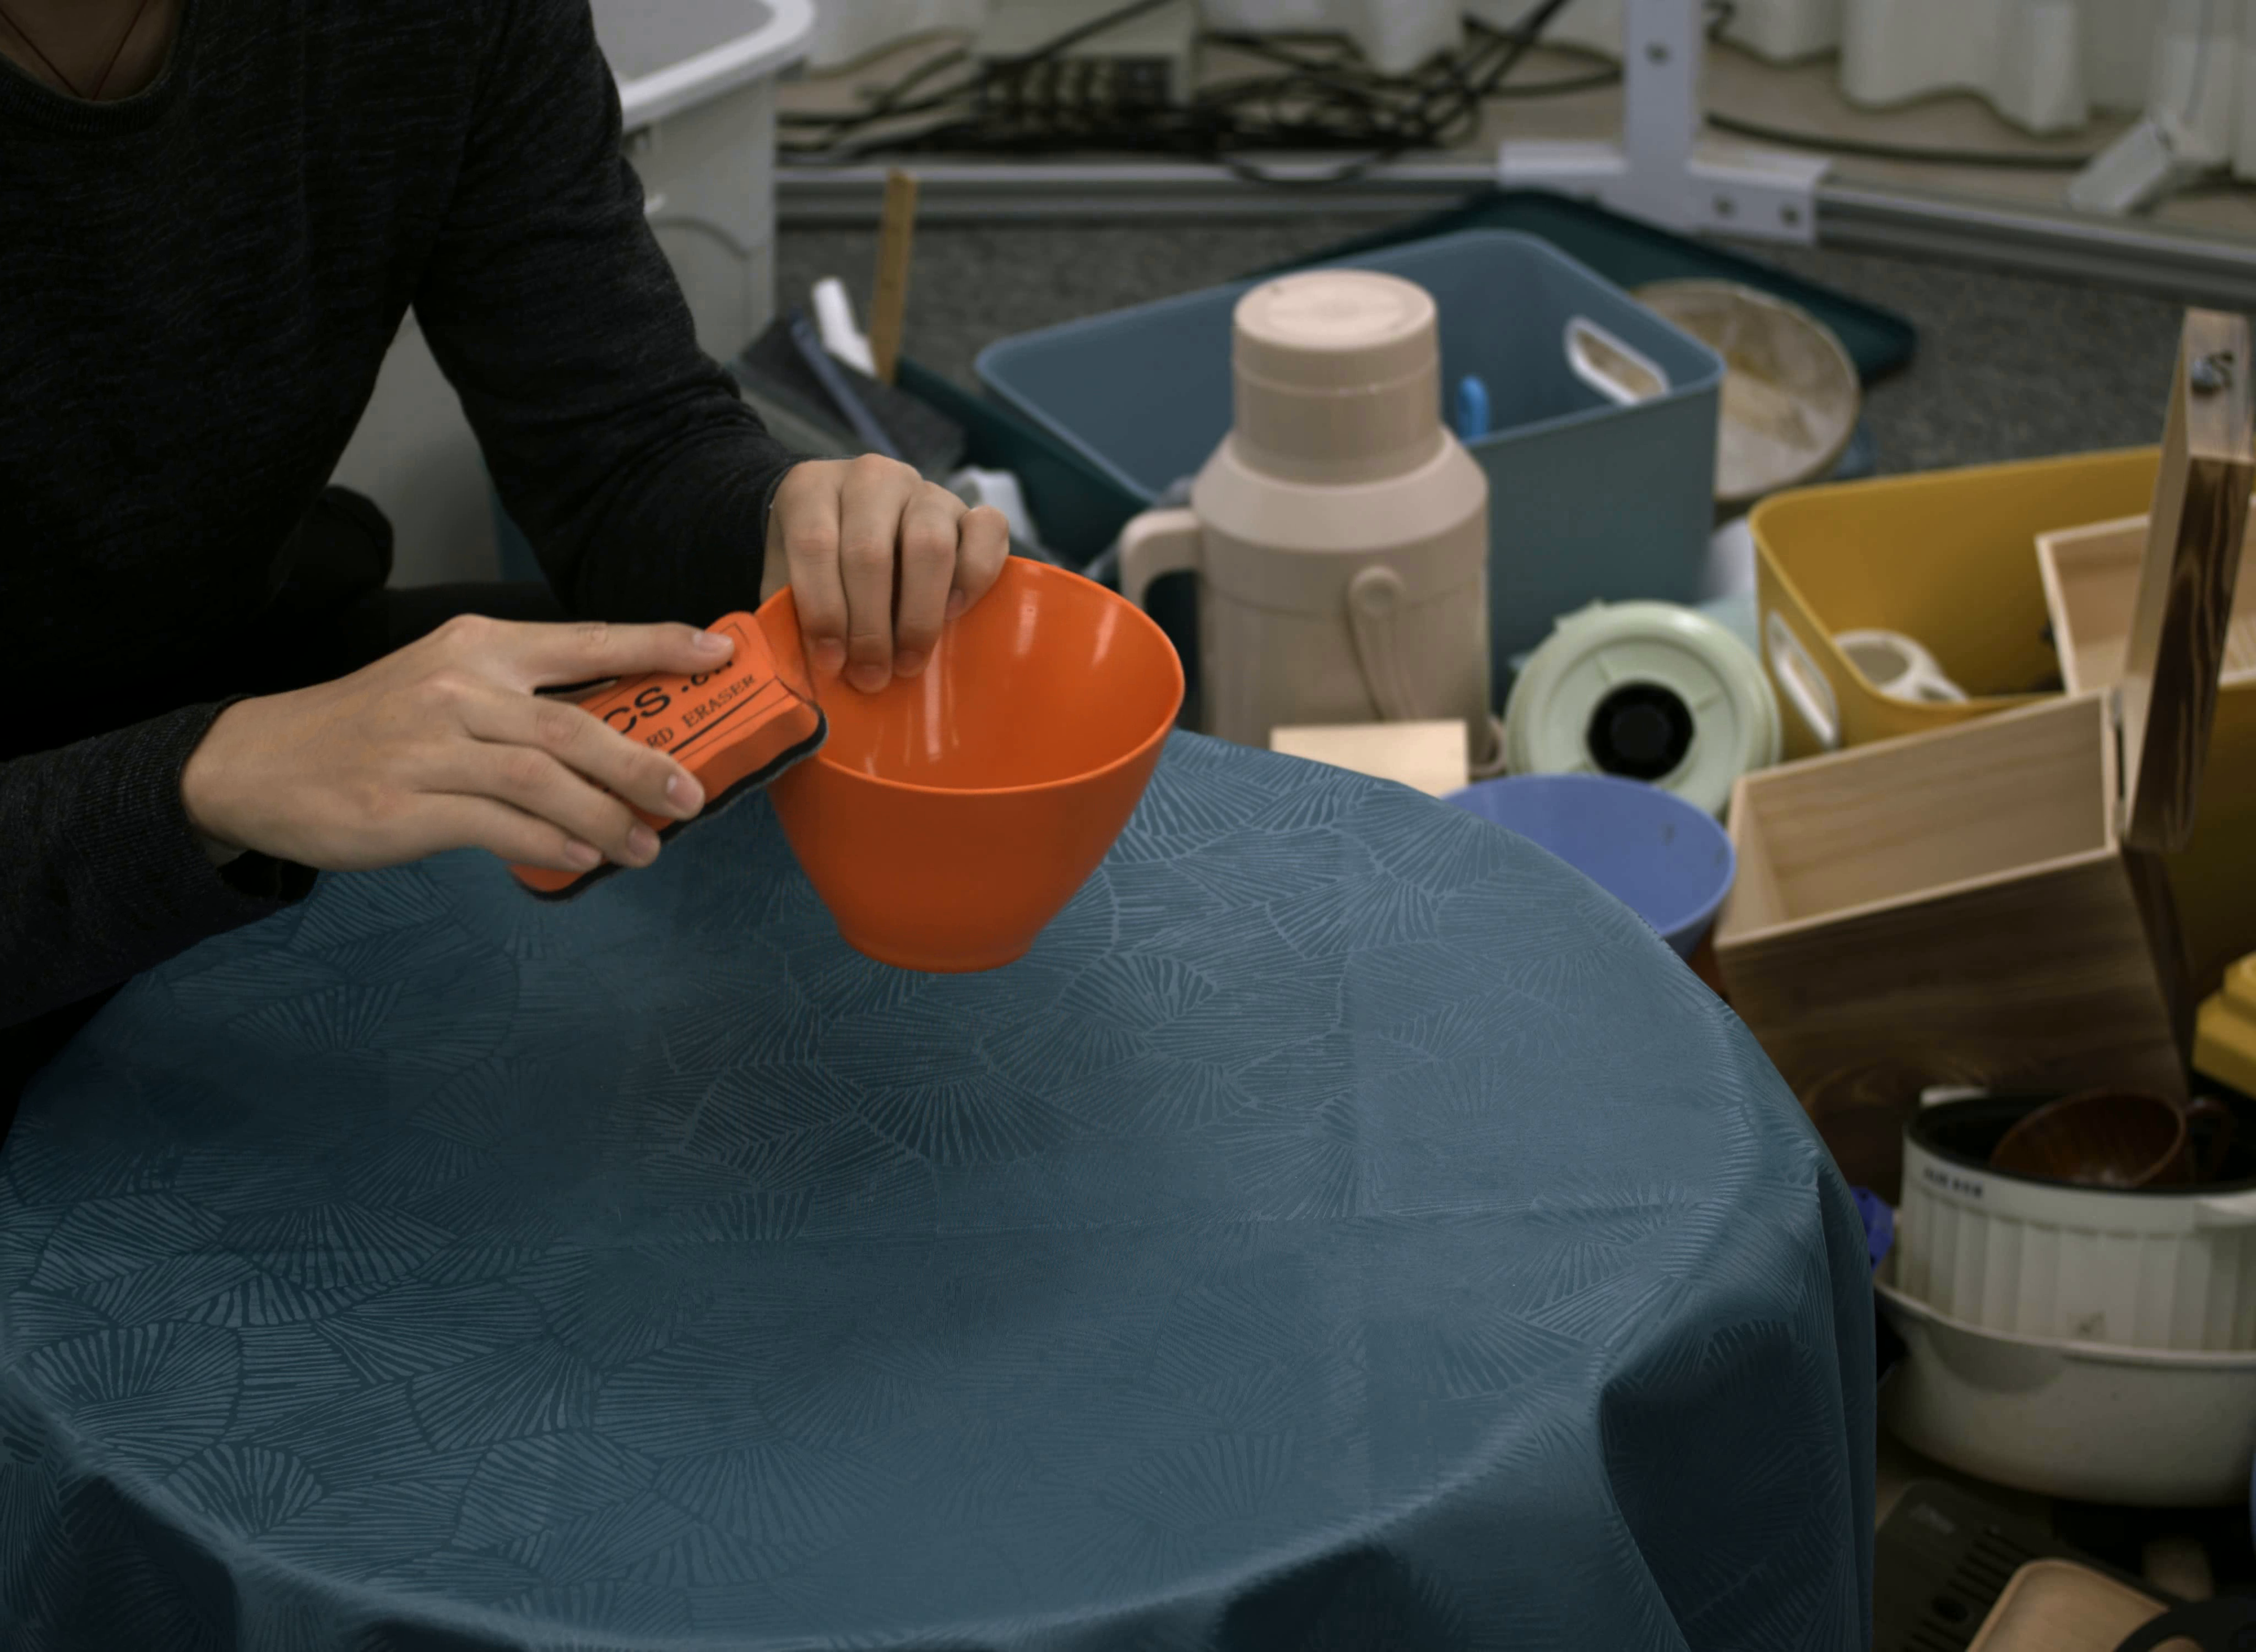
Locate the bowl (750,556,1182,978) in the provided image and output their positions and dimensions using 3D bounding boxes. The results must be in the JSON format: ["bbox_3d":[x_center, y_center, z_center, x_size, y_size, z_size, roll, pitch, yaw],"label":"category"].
[{"bbox_3d":[-0.060,-0.014,1.864,0.147,0.103,0.150,6,22,-2],"label":"bowl"}]

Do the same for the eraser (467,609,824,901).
[{"bbox_3d":[-0.154,-0.023,1.795,0.108,0.022,0.059,-31,44,-10],"label":"eraser"}]
